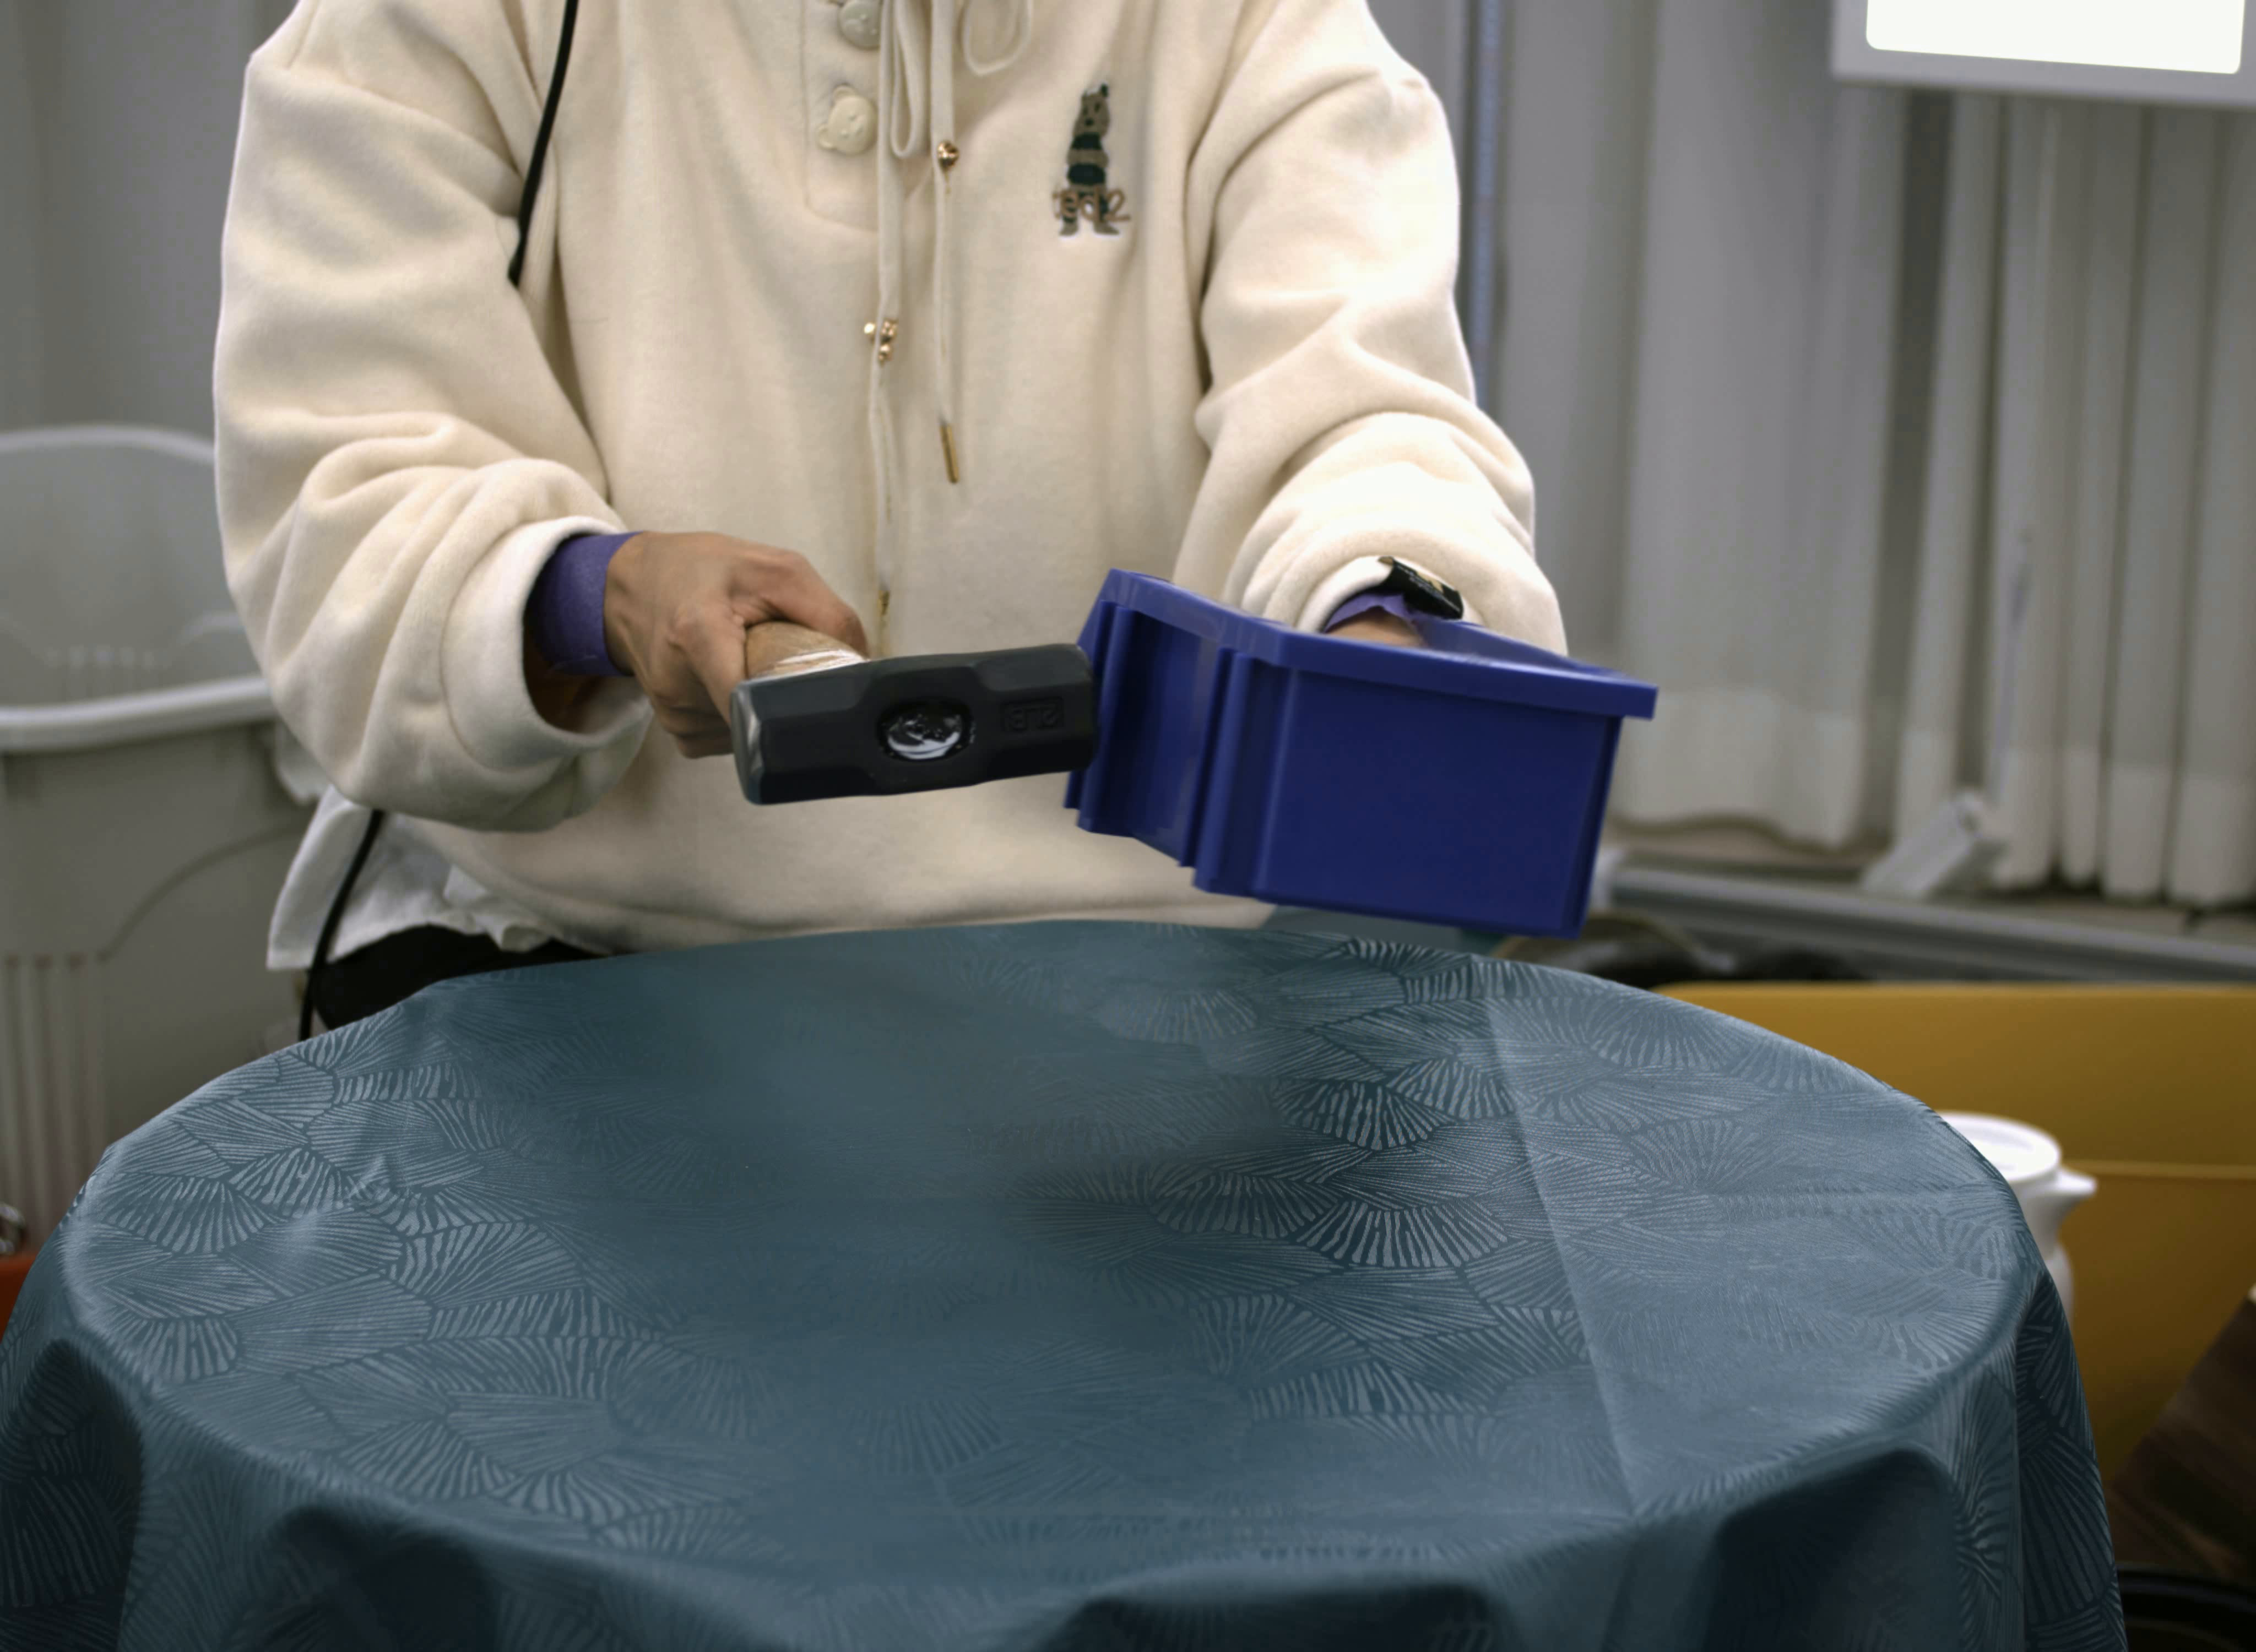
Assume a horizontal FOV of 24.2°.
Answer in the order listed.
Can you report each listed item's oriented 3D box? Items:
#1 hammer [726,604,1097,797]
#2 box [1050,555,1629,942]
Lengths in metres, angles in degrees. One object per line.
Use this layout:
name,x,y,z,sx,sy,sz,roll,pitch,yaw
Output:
hammer,-0.091,-0.046,1.674,0.107,0.038,0.303,-5,8,-11
box,0.054,-0.026,1.593,0.125,0.082,0.177,8,10,-20
